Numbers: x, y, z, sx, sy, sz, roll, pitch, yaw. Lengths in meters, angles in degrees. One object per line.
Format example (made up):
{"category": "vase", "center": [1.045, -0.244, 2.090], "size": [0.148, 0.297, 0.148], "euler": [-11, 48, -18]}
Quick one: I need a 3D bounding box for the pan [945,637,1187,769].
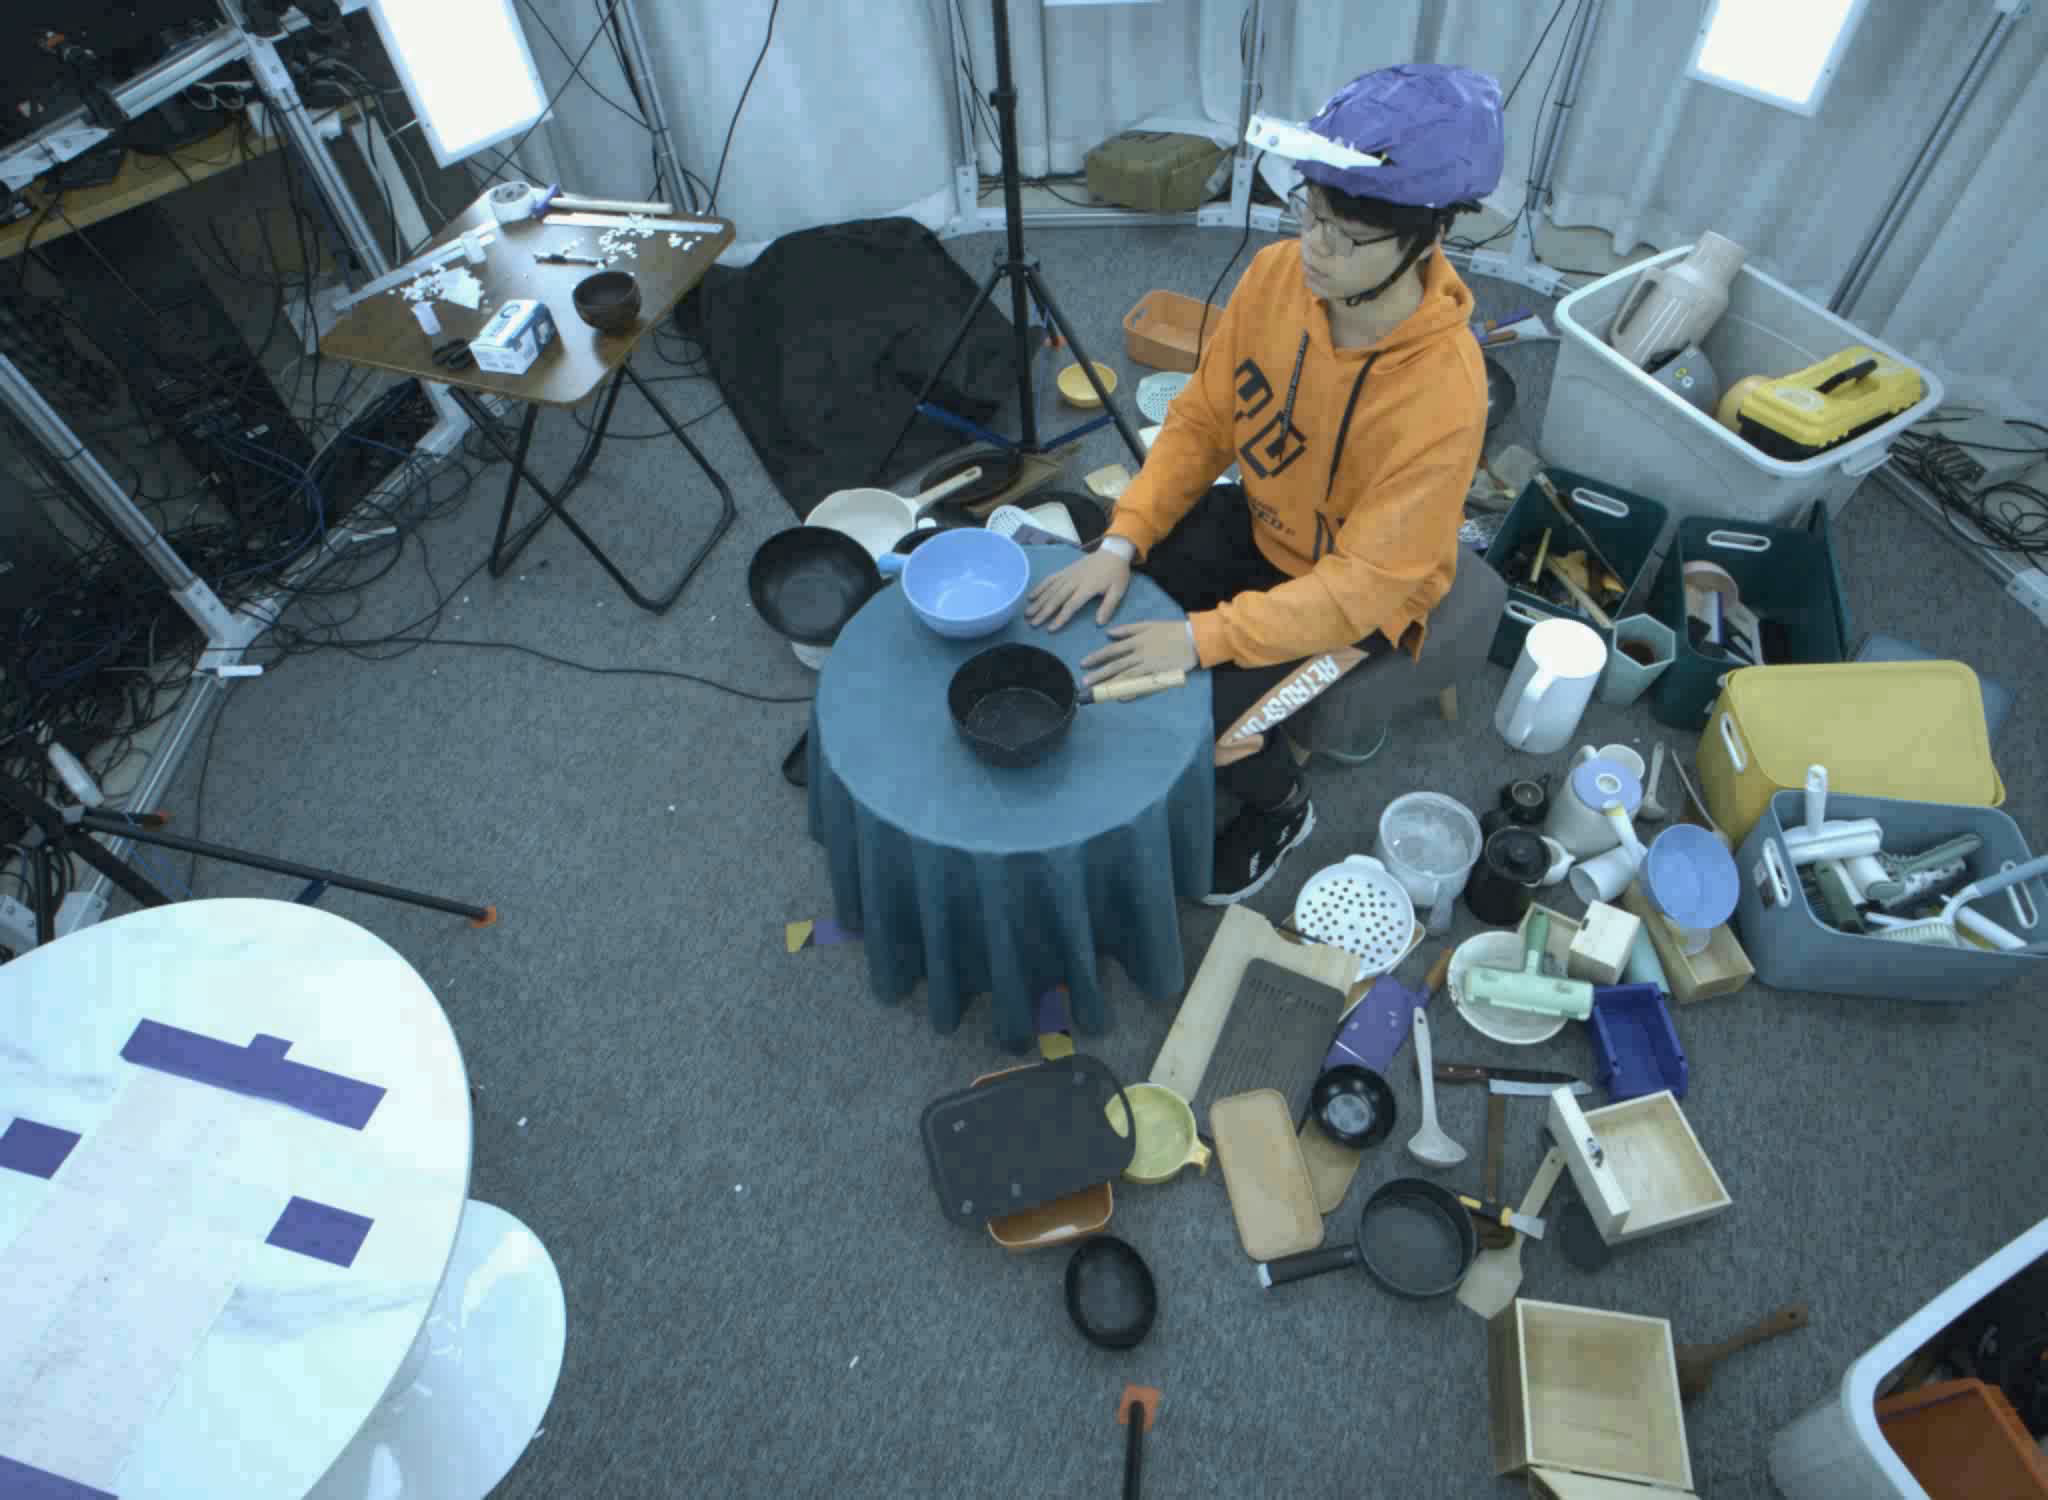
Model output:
{"category": "pan", "center": [0.062, -0.070, 1.768], "size": [0.343, 0.109, 0.205], "euler": [-4, 53, 1]}

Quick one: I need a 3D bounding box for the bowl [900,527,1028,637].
{"category": "bowl", "center": [-0.088, -0.246, 1.905], "size": [0.196, 0.096, 0.194], "euler": [-1, 54, 3]}
